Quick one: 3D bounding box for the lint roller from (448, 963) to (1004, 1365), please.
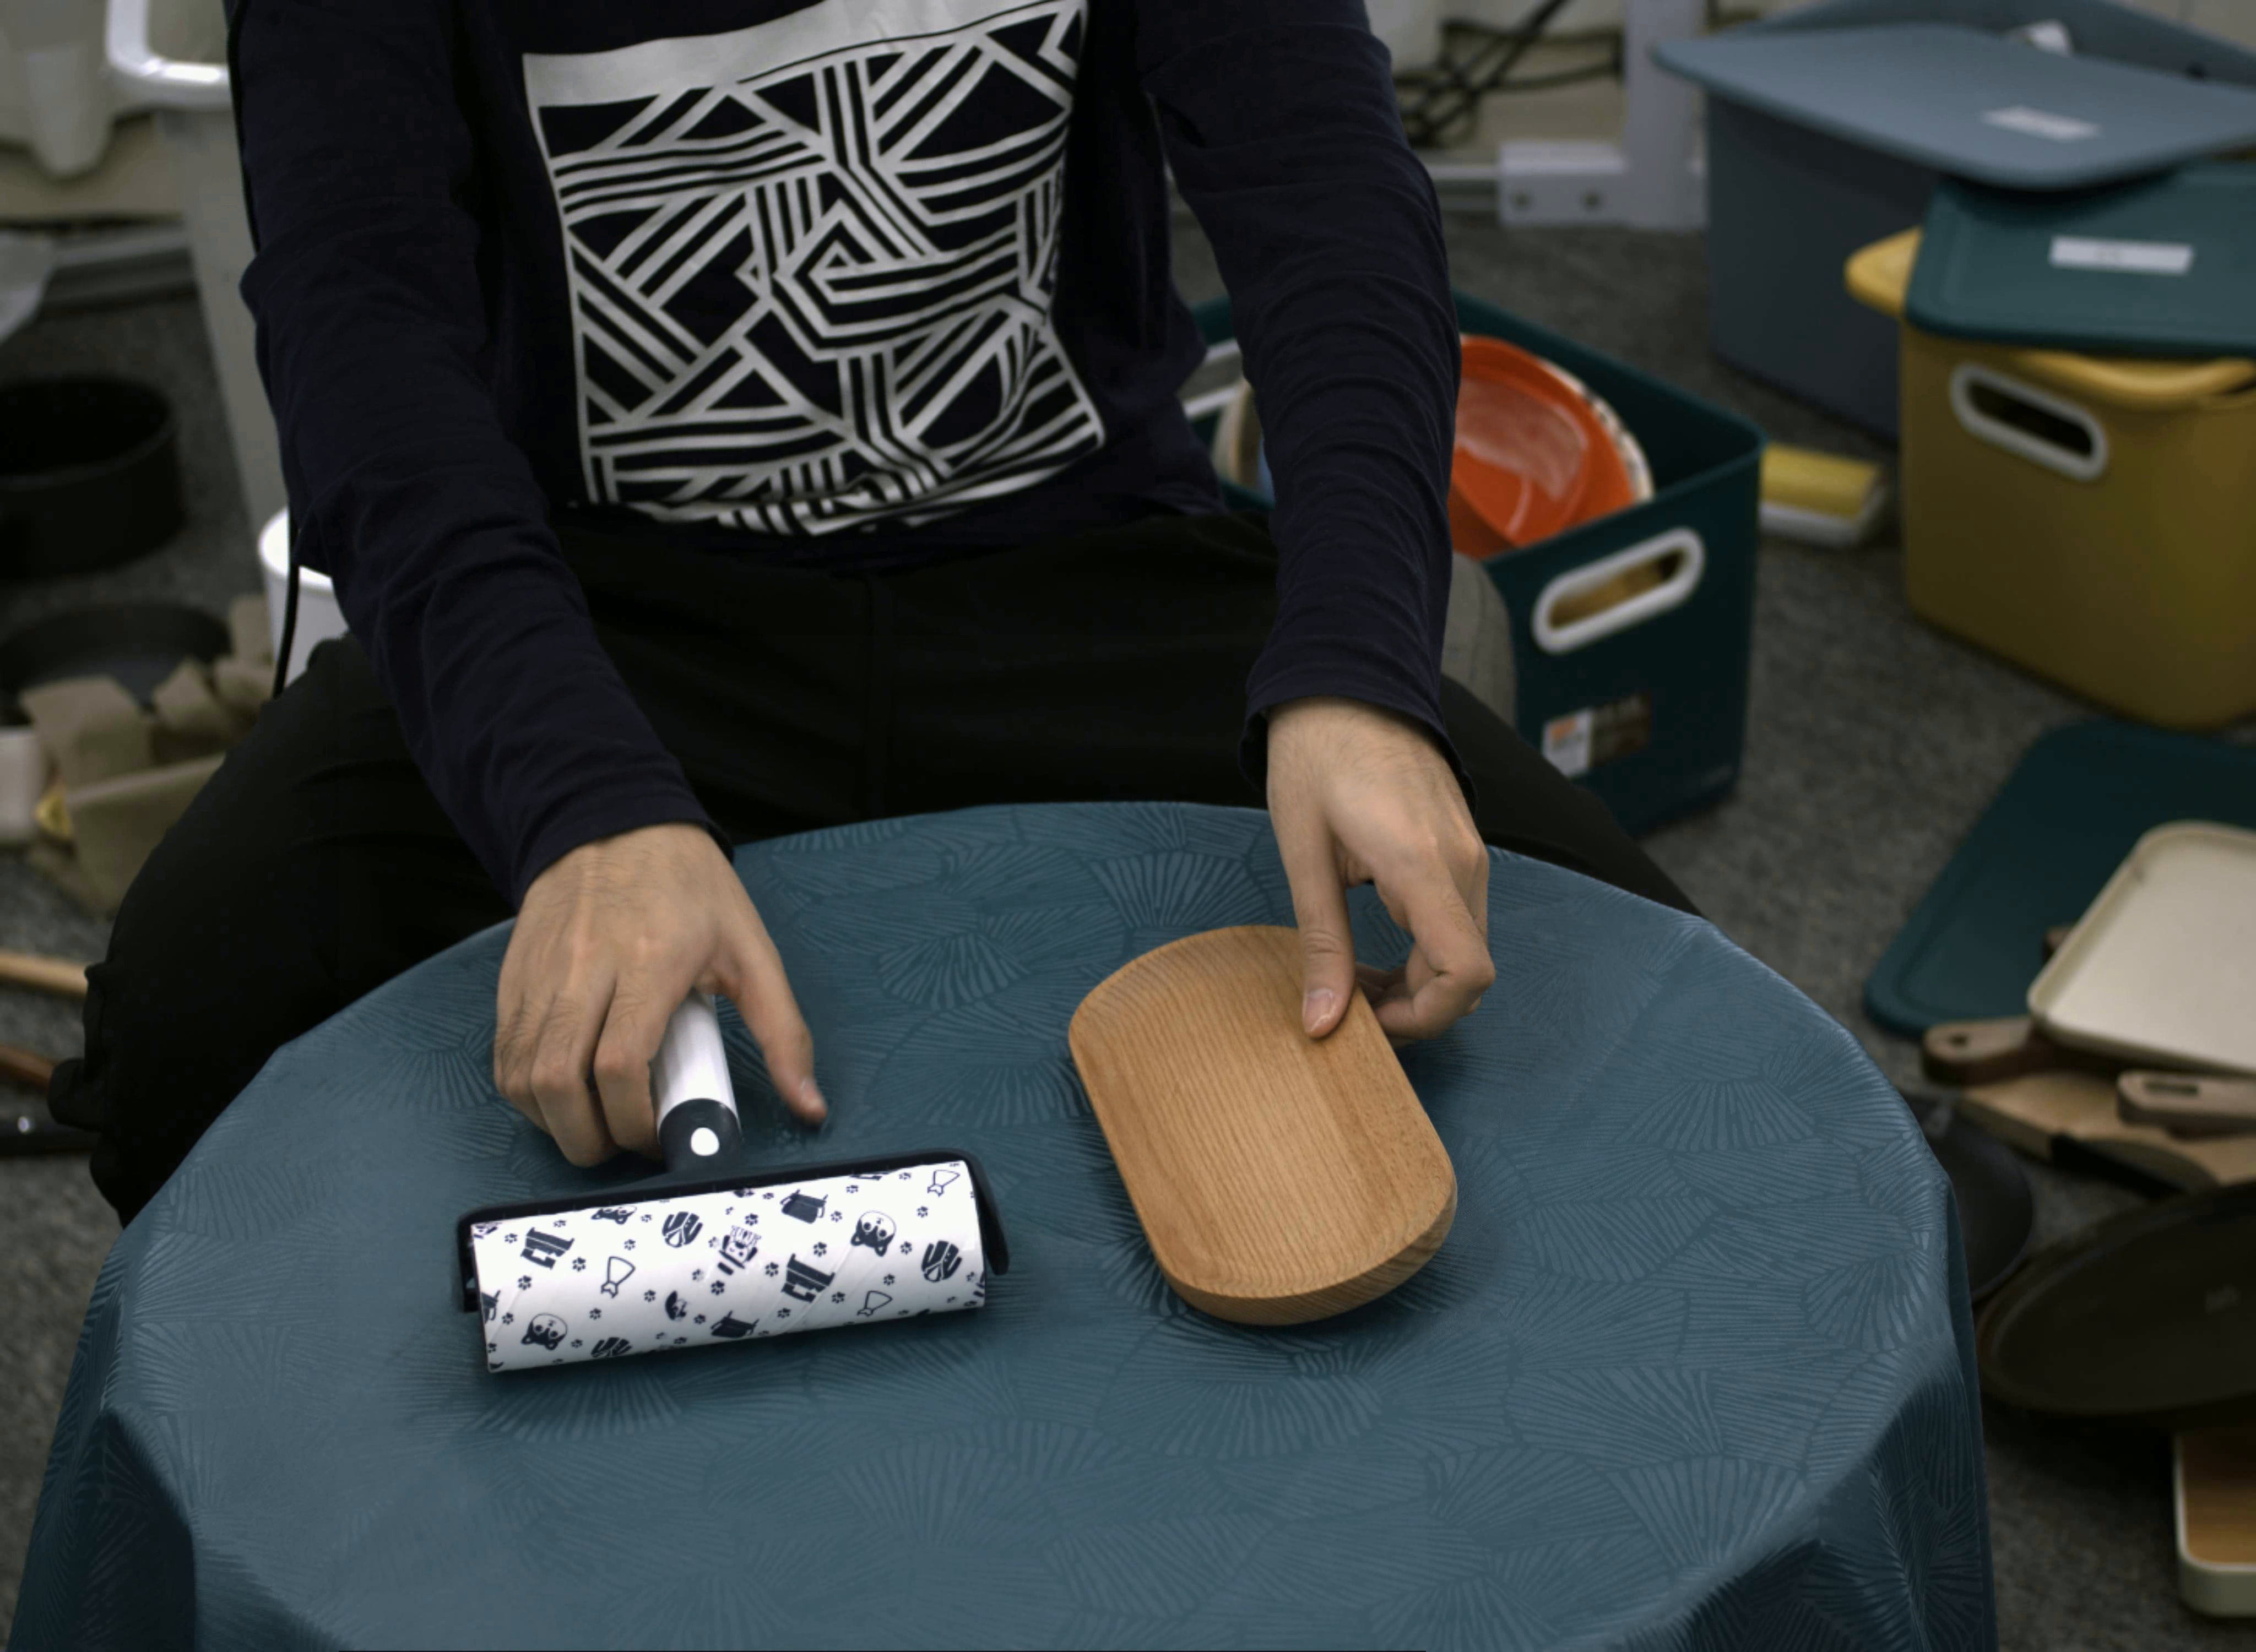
[{"bbox_3d":[-0.146,0.098,1.877,0.176,0.050,0.249,-8,25,-8],"label":"lint roller"}]

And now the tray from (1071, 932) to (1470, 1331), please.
[{"bbox_3d":[0.046,0.099,1.865,0.101,0.020,0.234,-21,30,-4],"label":"tray"}]
